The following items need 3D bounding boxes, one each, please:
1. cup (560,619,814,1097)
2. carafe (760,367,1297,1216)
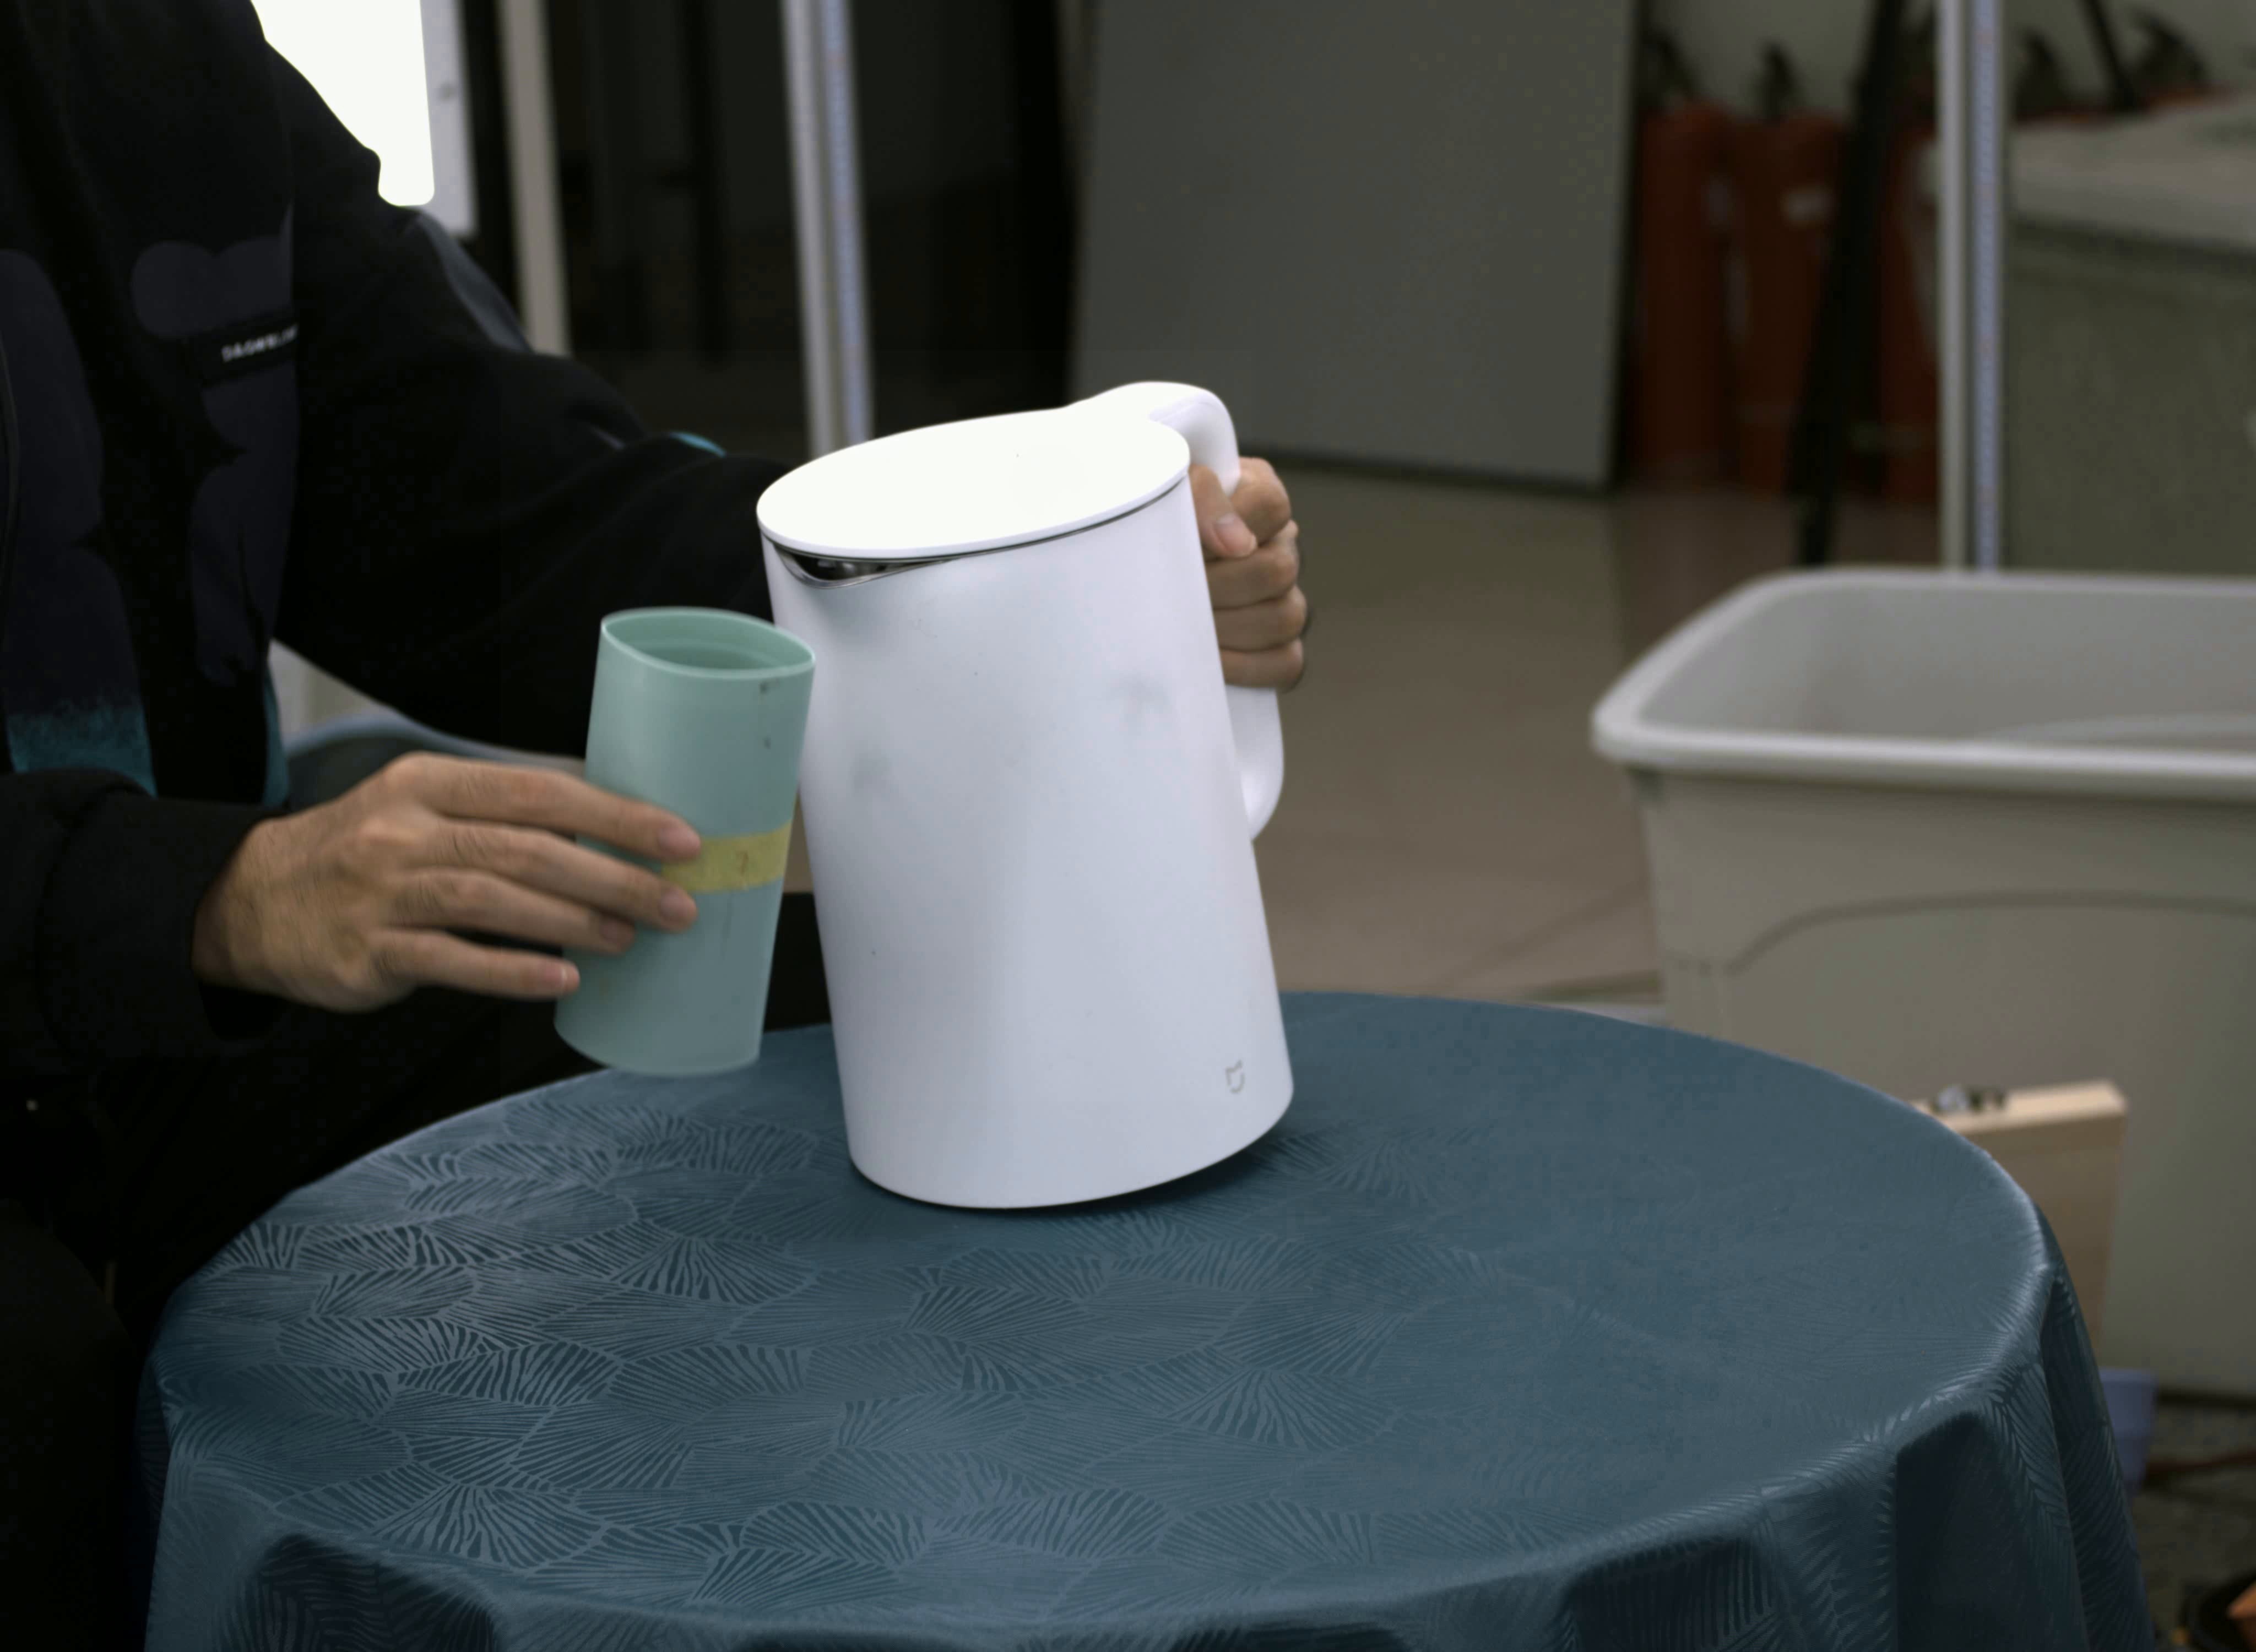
[{"bbox_3d":[-0.135,0.009,1.645,0.066,0.134,0.067,7,19,-3],"label":"cup"},{"bbox_3d":[-0.017,-0.018,1.801,0.153,0.242,0.210,7,25,37],"label":"carafe"}]
